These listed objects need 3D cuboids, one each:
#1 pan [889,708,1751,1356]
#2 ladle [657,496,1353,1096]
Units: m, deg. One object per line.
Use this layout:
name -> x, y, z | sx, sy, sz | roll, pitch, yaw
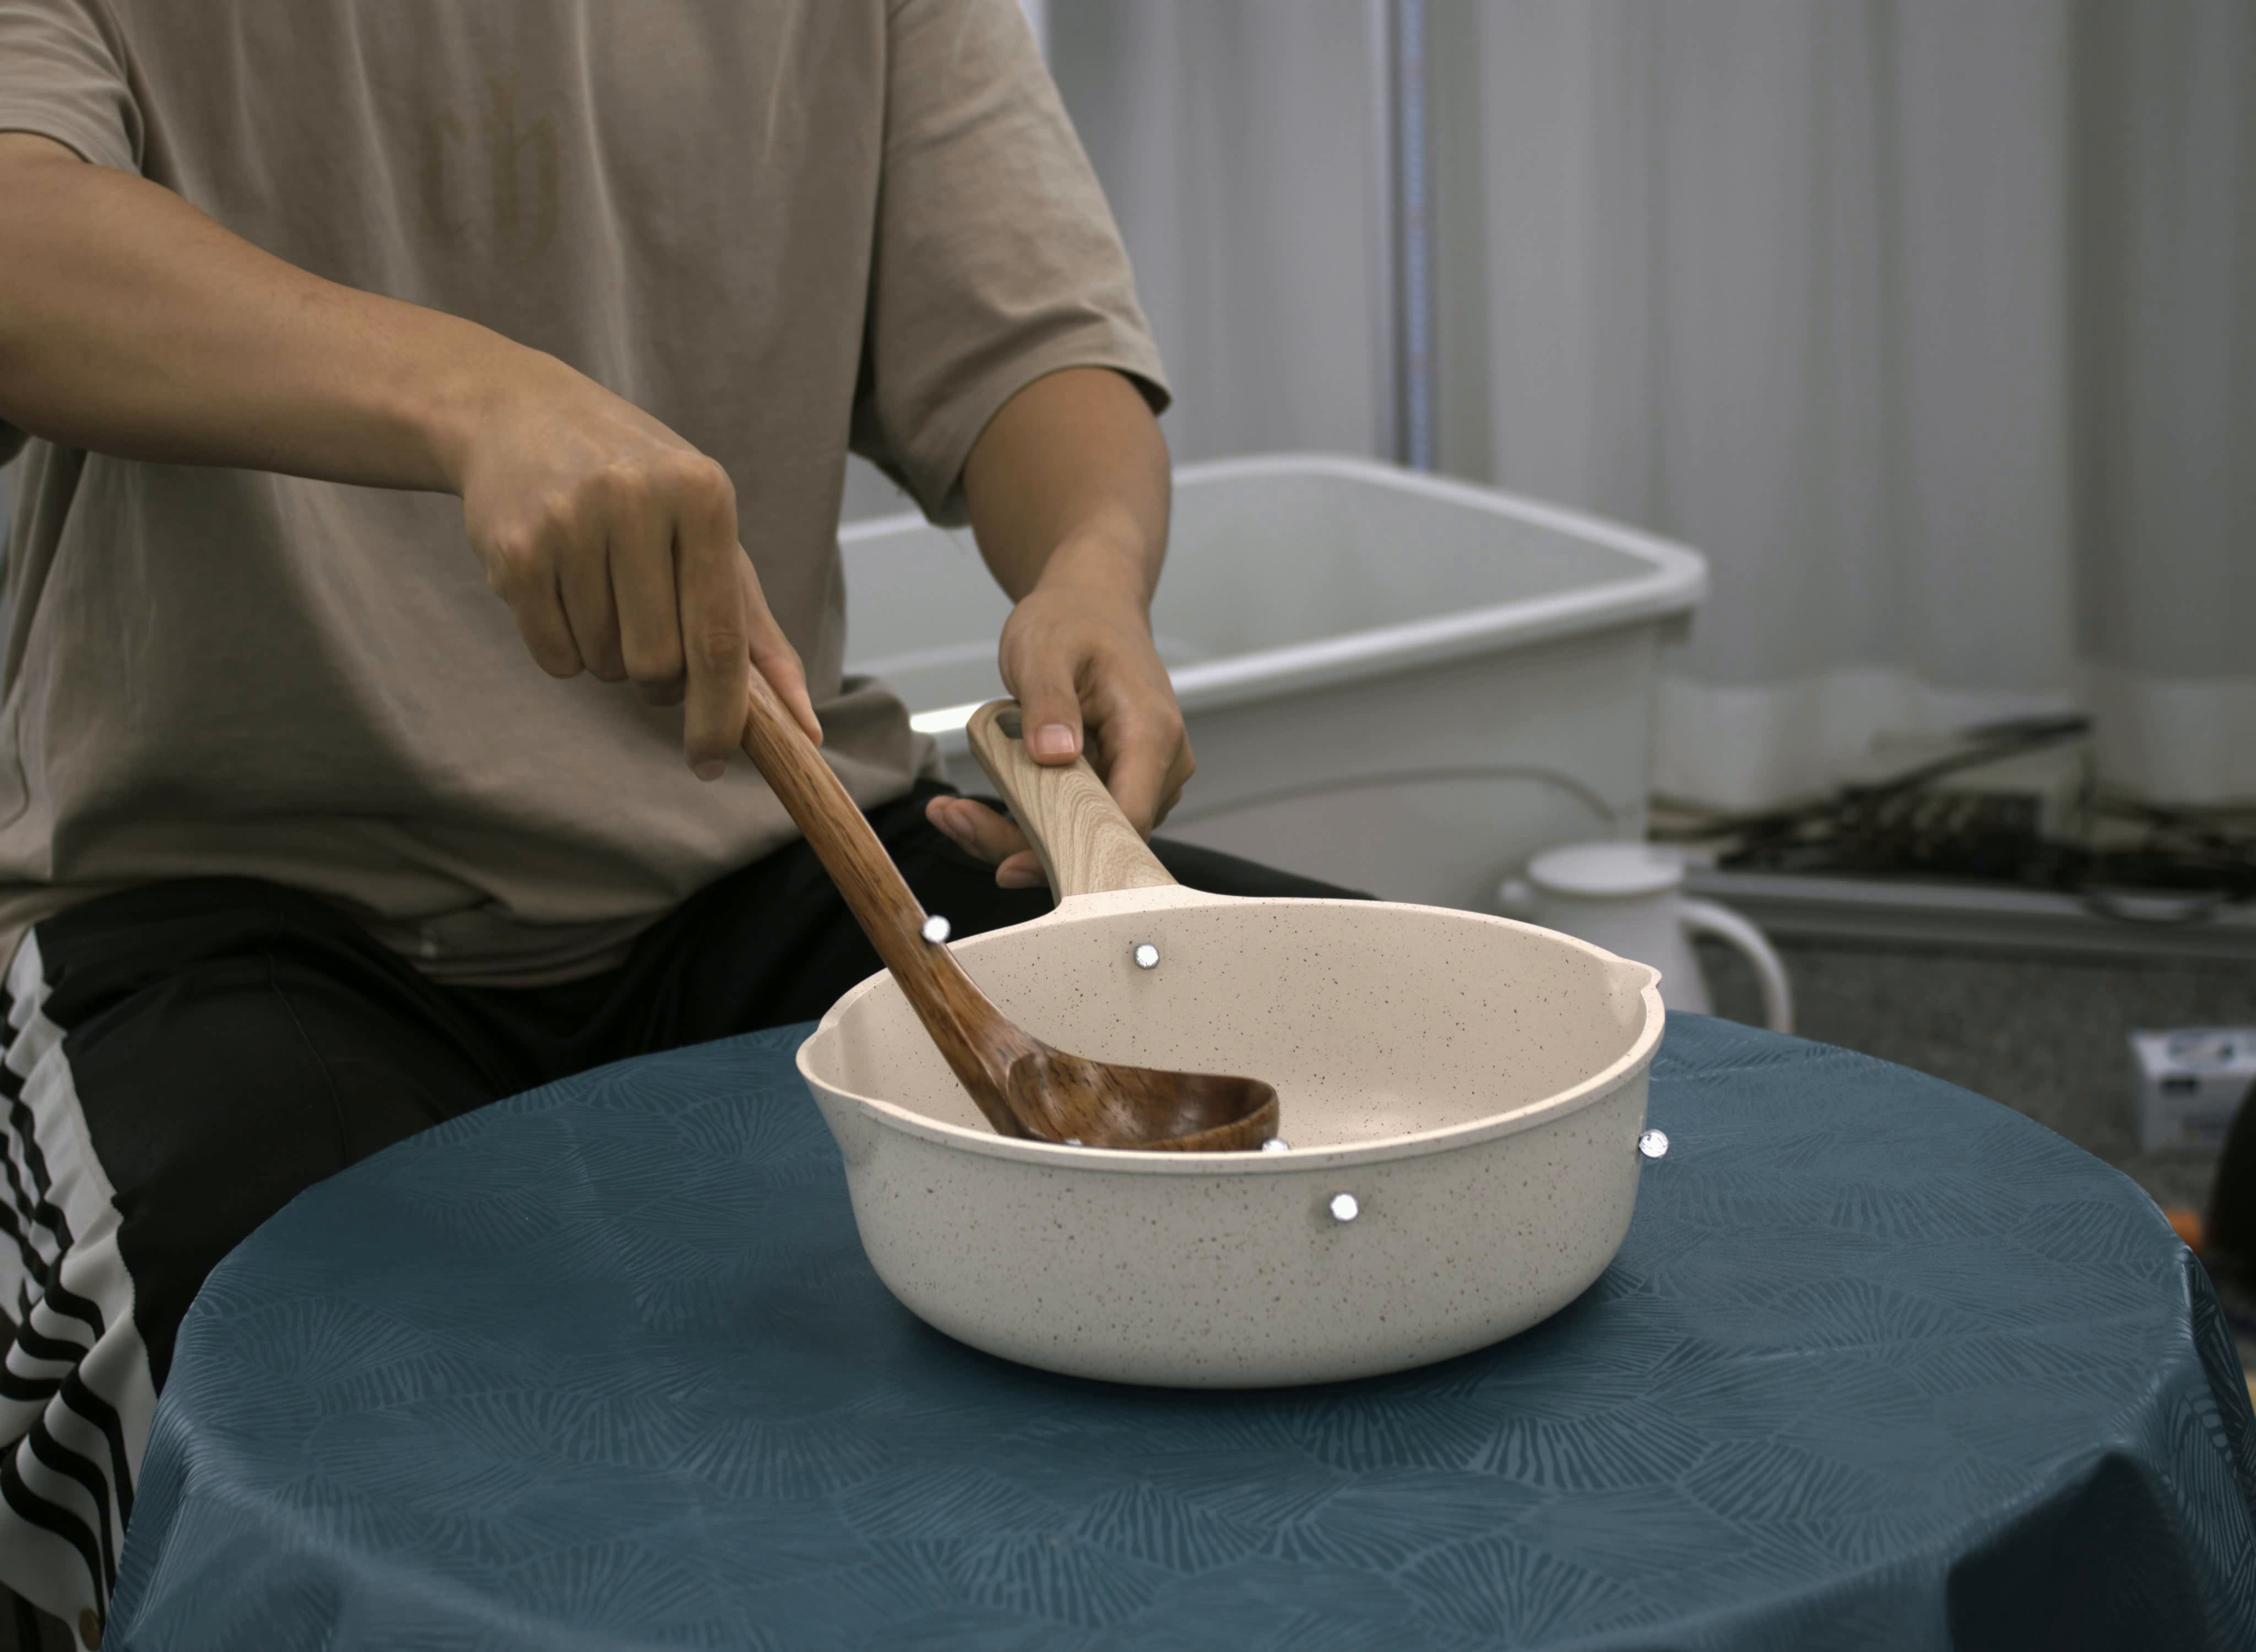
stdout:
pan -> 0.037, 0.058, 1.712 | 0.262, 0.101, 0.438 | -8, 15, -13
ladle -> -0.036, -0.003, 1.606 | 0.076, 0.275, 0.082 | -39, -9, 24
